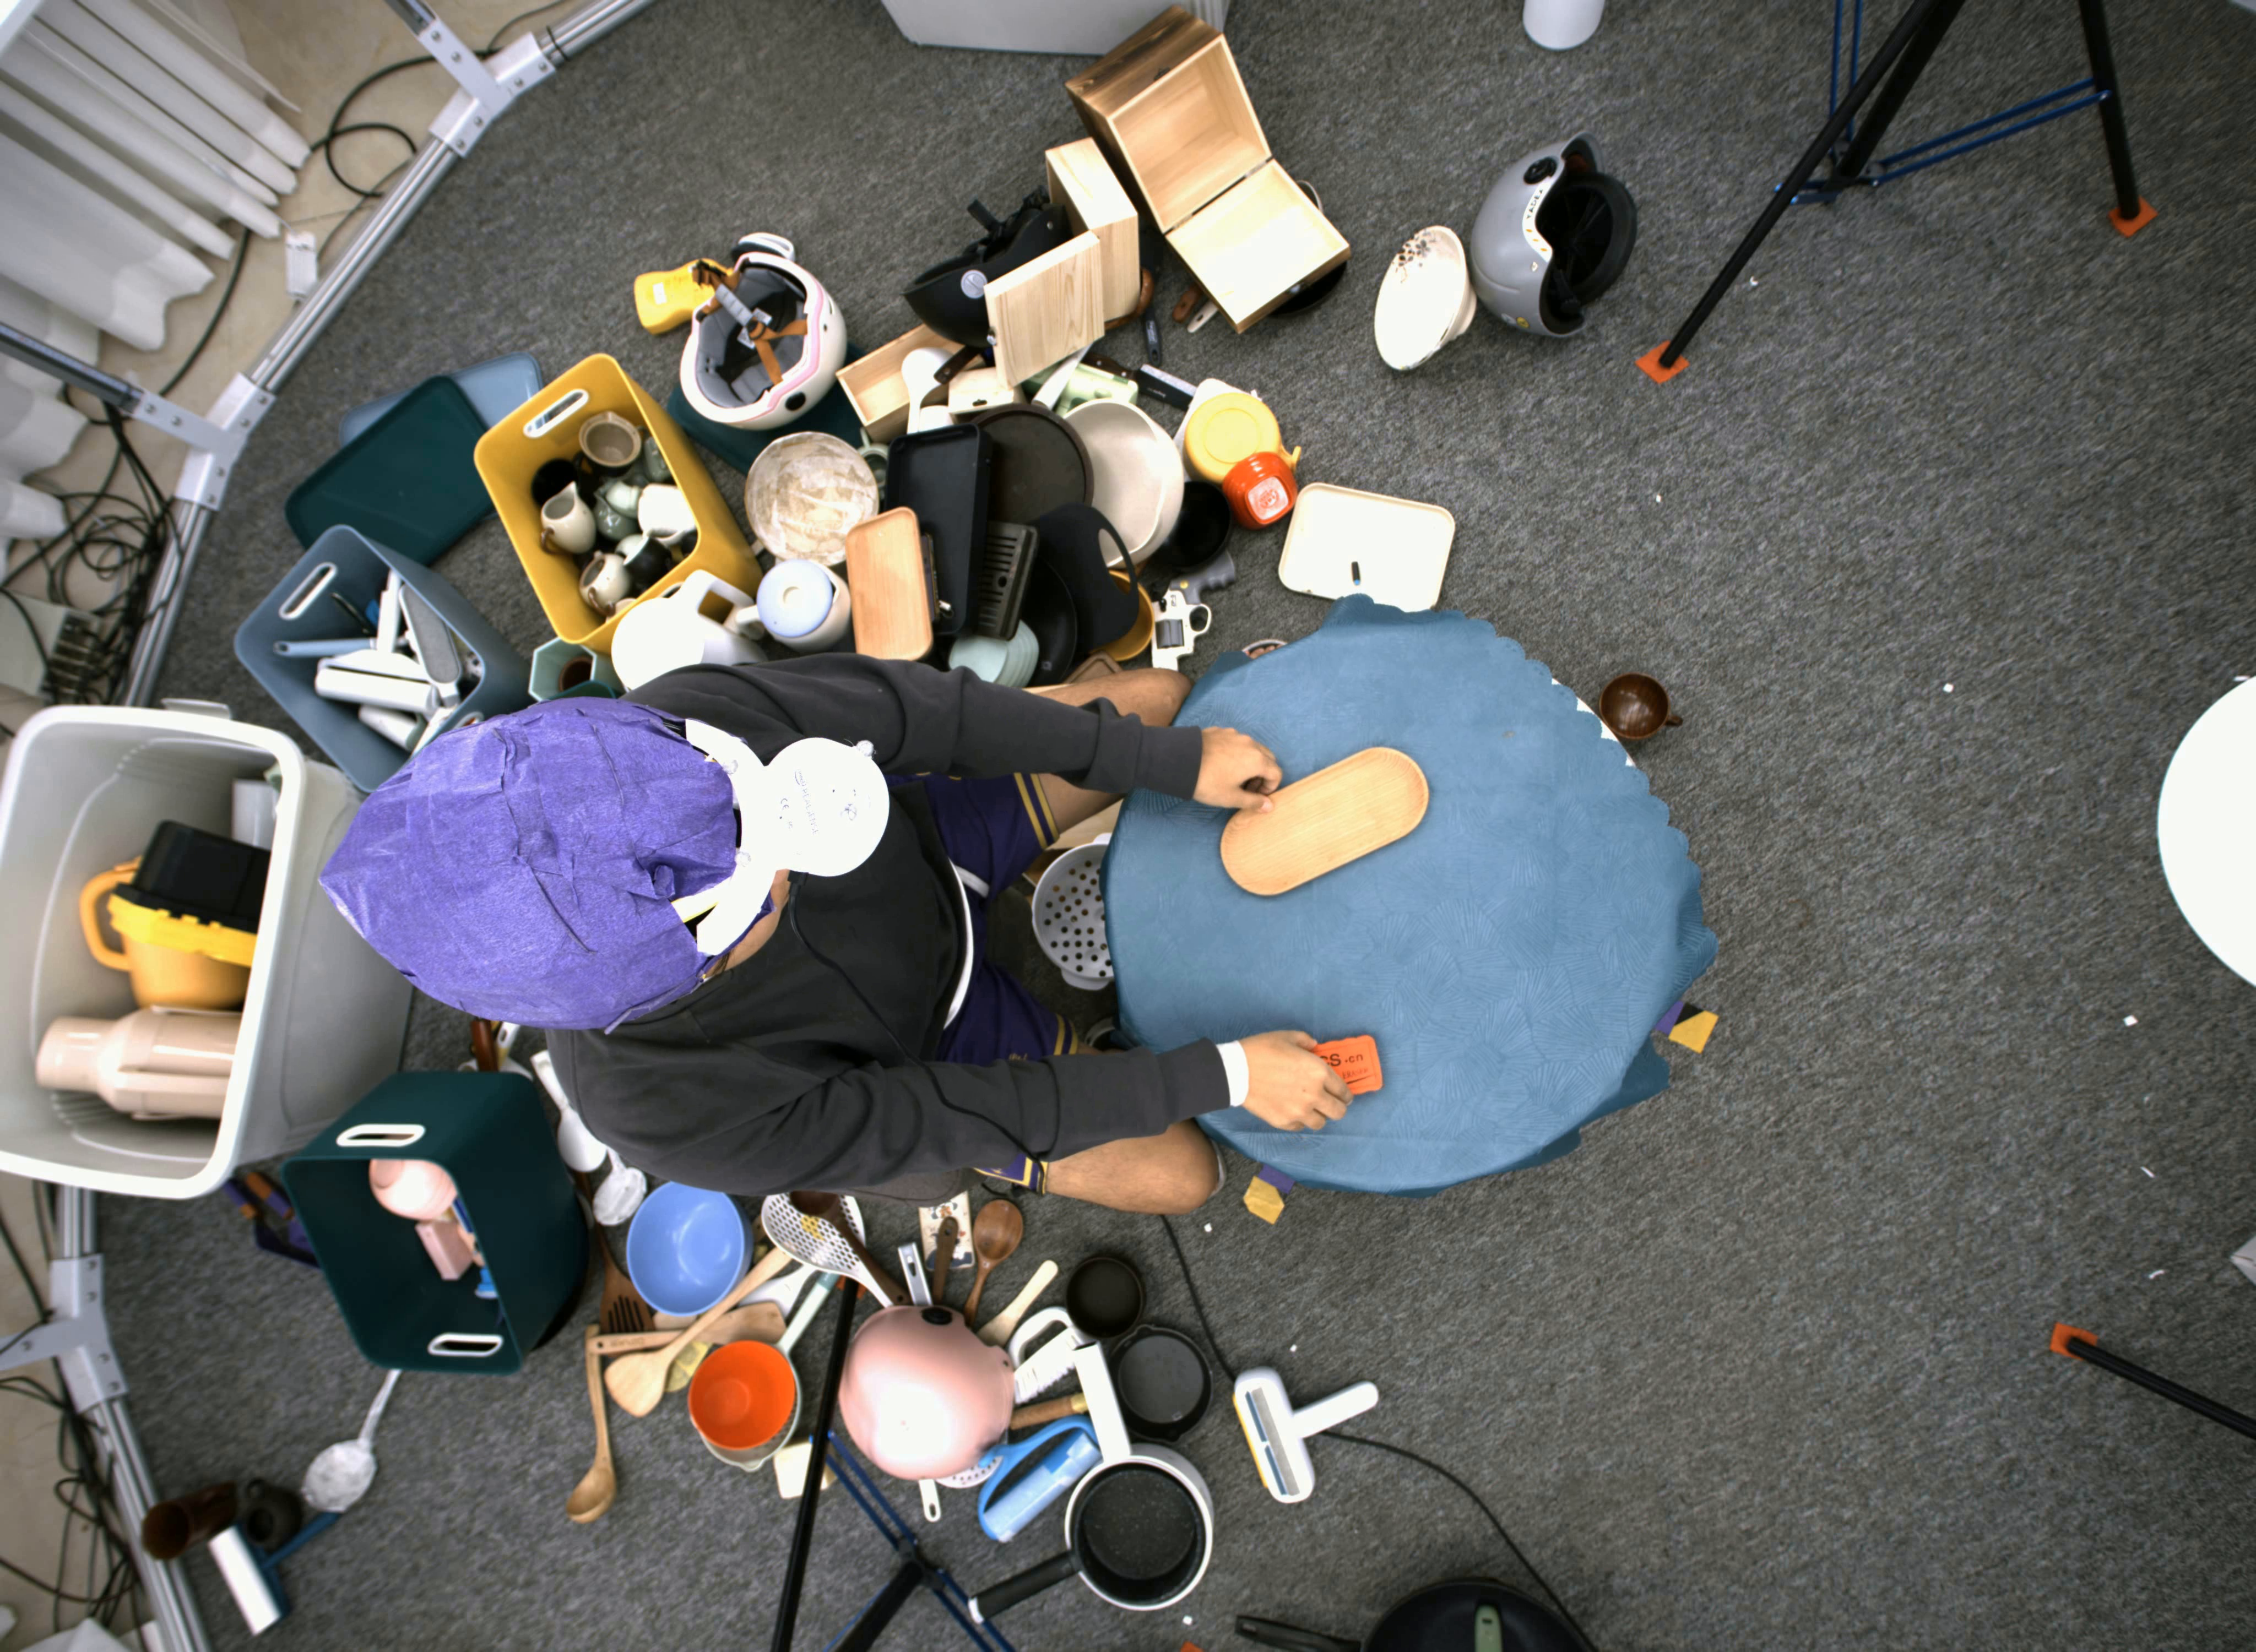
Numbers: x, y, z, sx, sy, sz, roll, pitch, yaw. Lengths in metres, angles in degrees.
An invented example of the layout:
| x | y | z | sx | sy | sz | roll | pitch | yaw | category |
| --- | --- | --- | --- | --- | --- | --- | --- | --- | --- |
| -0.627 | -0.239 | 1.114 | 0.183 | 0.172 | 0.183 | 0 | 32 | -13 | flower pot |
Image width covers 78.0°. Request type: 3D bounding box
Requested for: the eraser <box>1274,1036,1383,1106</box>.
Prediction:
| x | y | z | sx | sy | sz | roll | pitch | yaw | category |
| --- | --- | --- | --- | --- | --- | --- | --- | --- | --- |
| 0.209 | 0.255 | 1.448 | 0.108 | 0.023 | 0.057 | -11 | 59 | 11 | eraser |

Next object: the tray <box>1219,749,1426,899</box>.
| x | y | z | sx | sy | sz | roll | pitch | yaw | category |
| --- | --- | --- | --- | --- | --- | --- | --- | --- | --- |
| 0.205 | -0.003 | 1.466 | 0.232 | 0.020 | 0.101 | -27 | 84 | 9 | tray |
